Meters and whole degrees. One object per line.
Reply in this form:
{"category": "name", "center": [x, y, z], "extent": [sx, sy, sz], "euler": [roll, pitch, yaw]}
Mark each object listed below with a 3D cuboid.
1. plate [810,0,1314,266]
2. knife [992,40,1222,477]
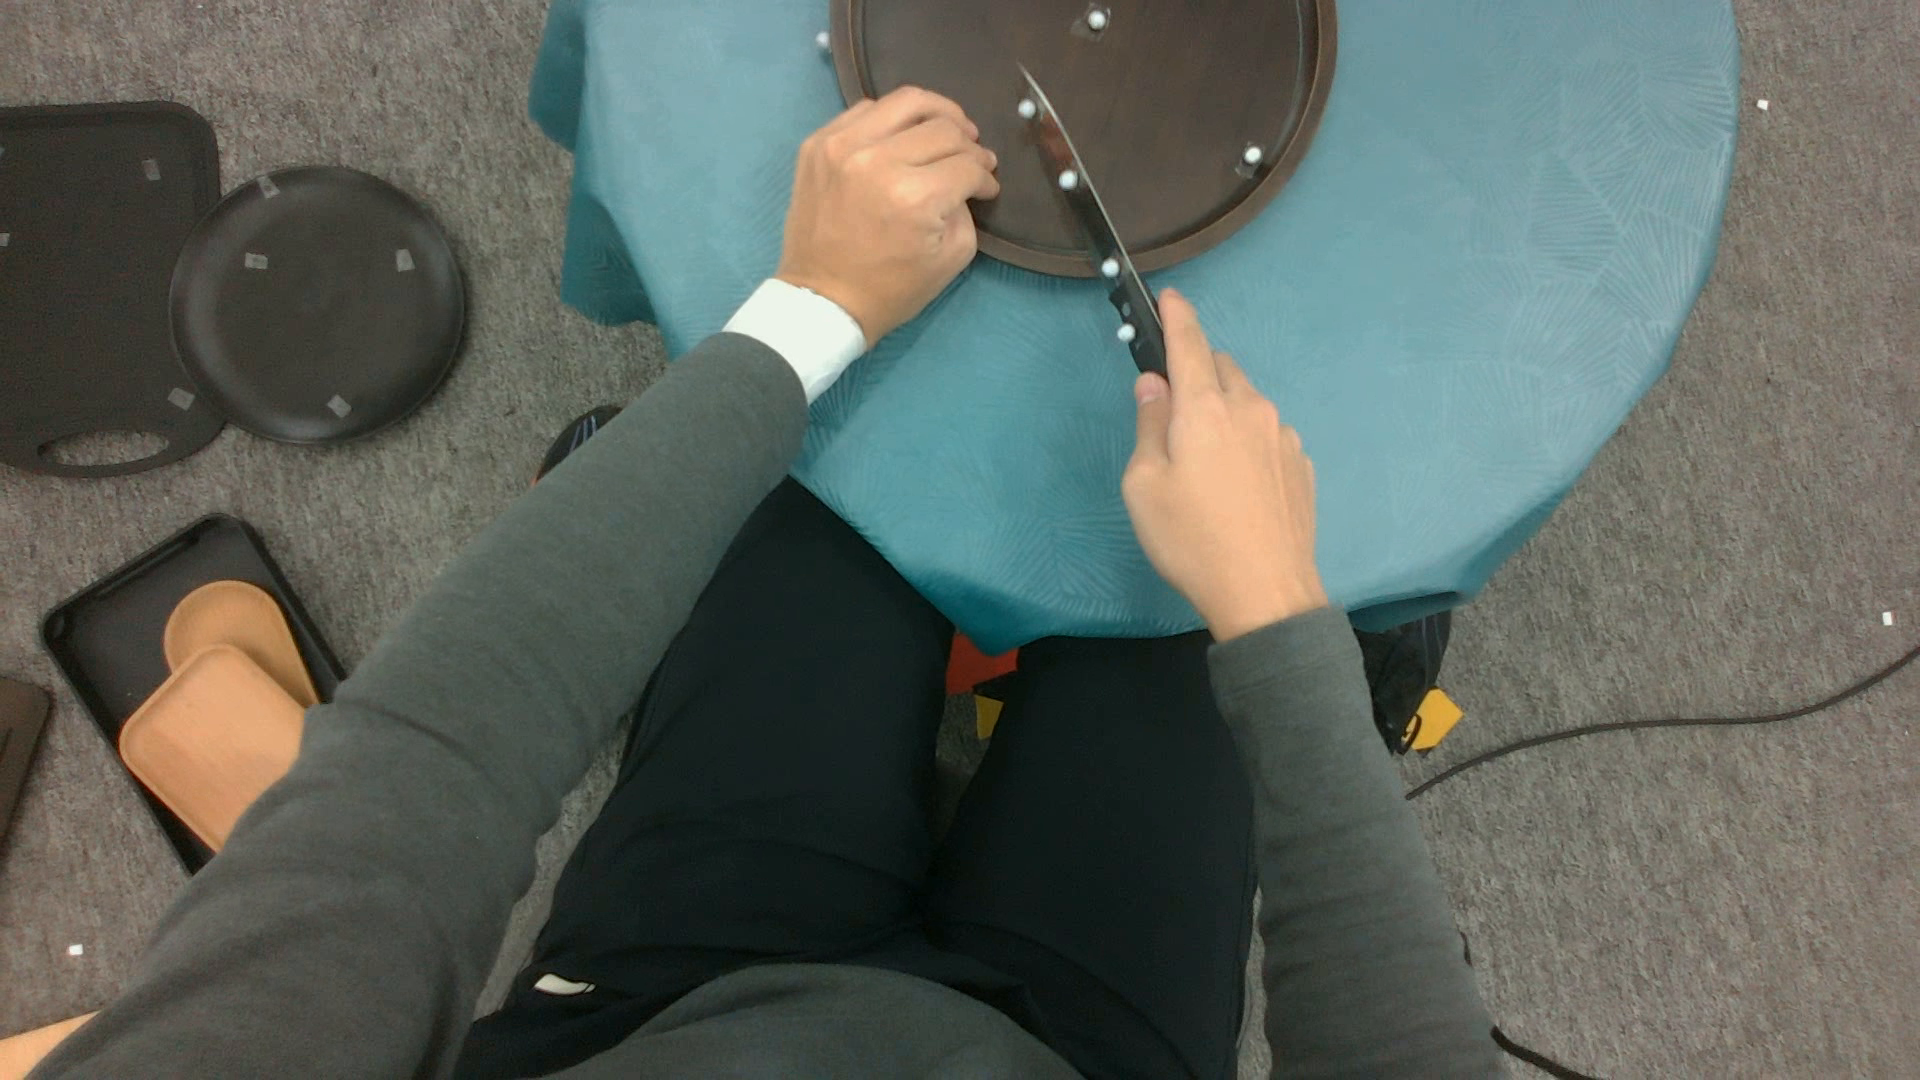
{"category": "plate", "center": [0.052, -0.260, 0.691], "extent": [0.255, 0.029, 0.255], "euler": [1, 84, -5]}
{"category": "knife", "center": [0.065, -0.137, 0.641], "extent": [0.016, 0.024, 0.238], "euler": [-19, 77, -25]}
